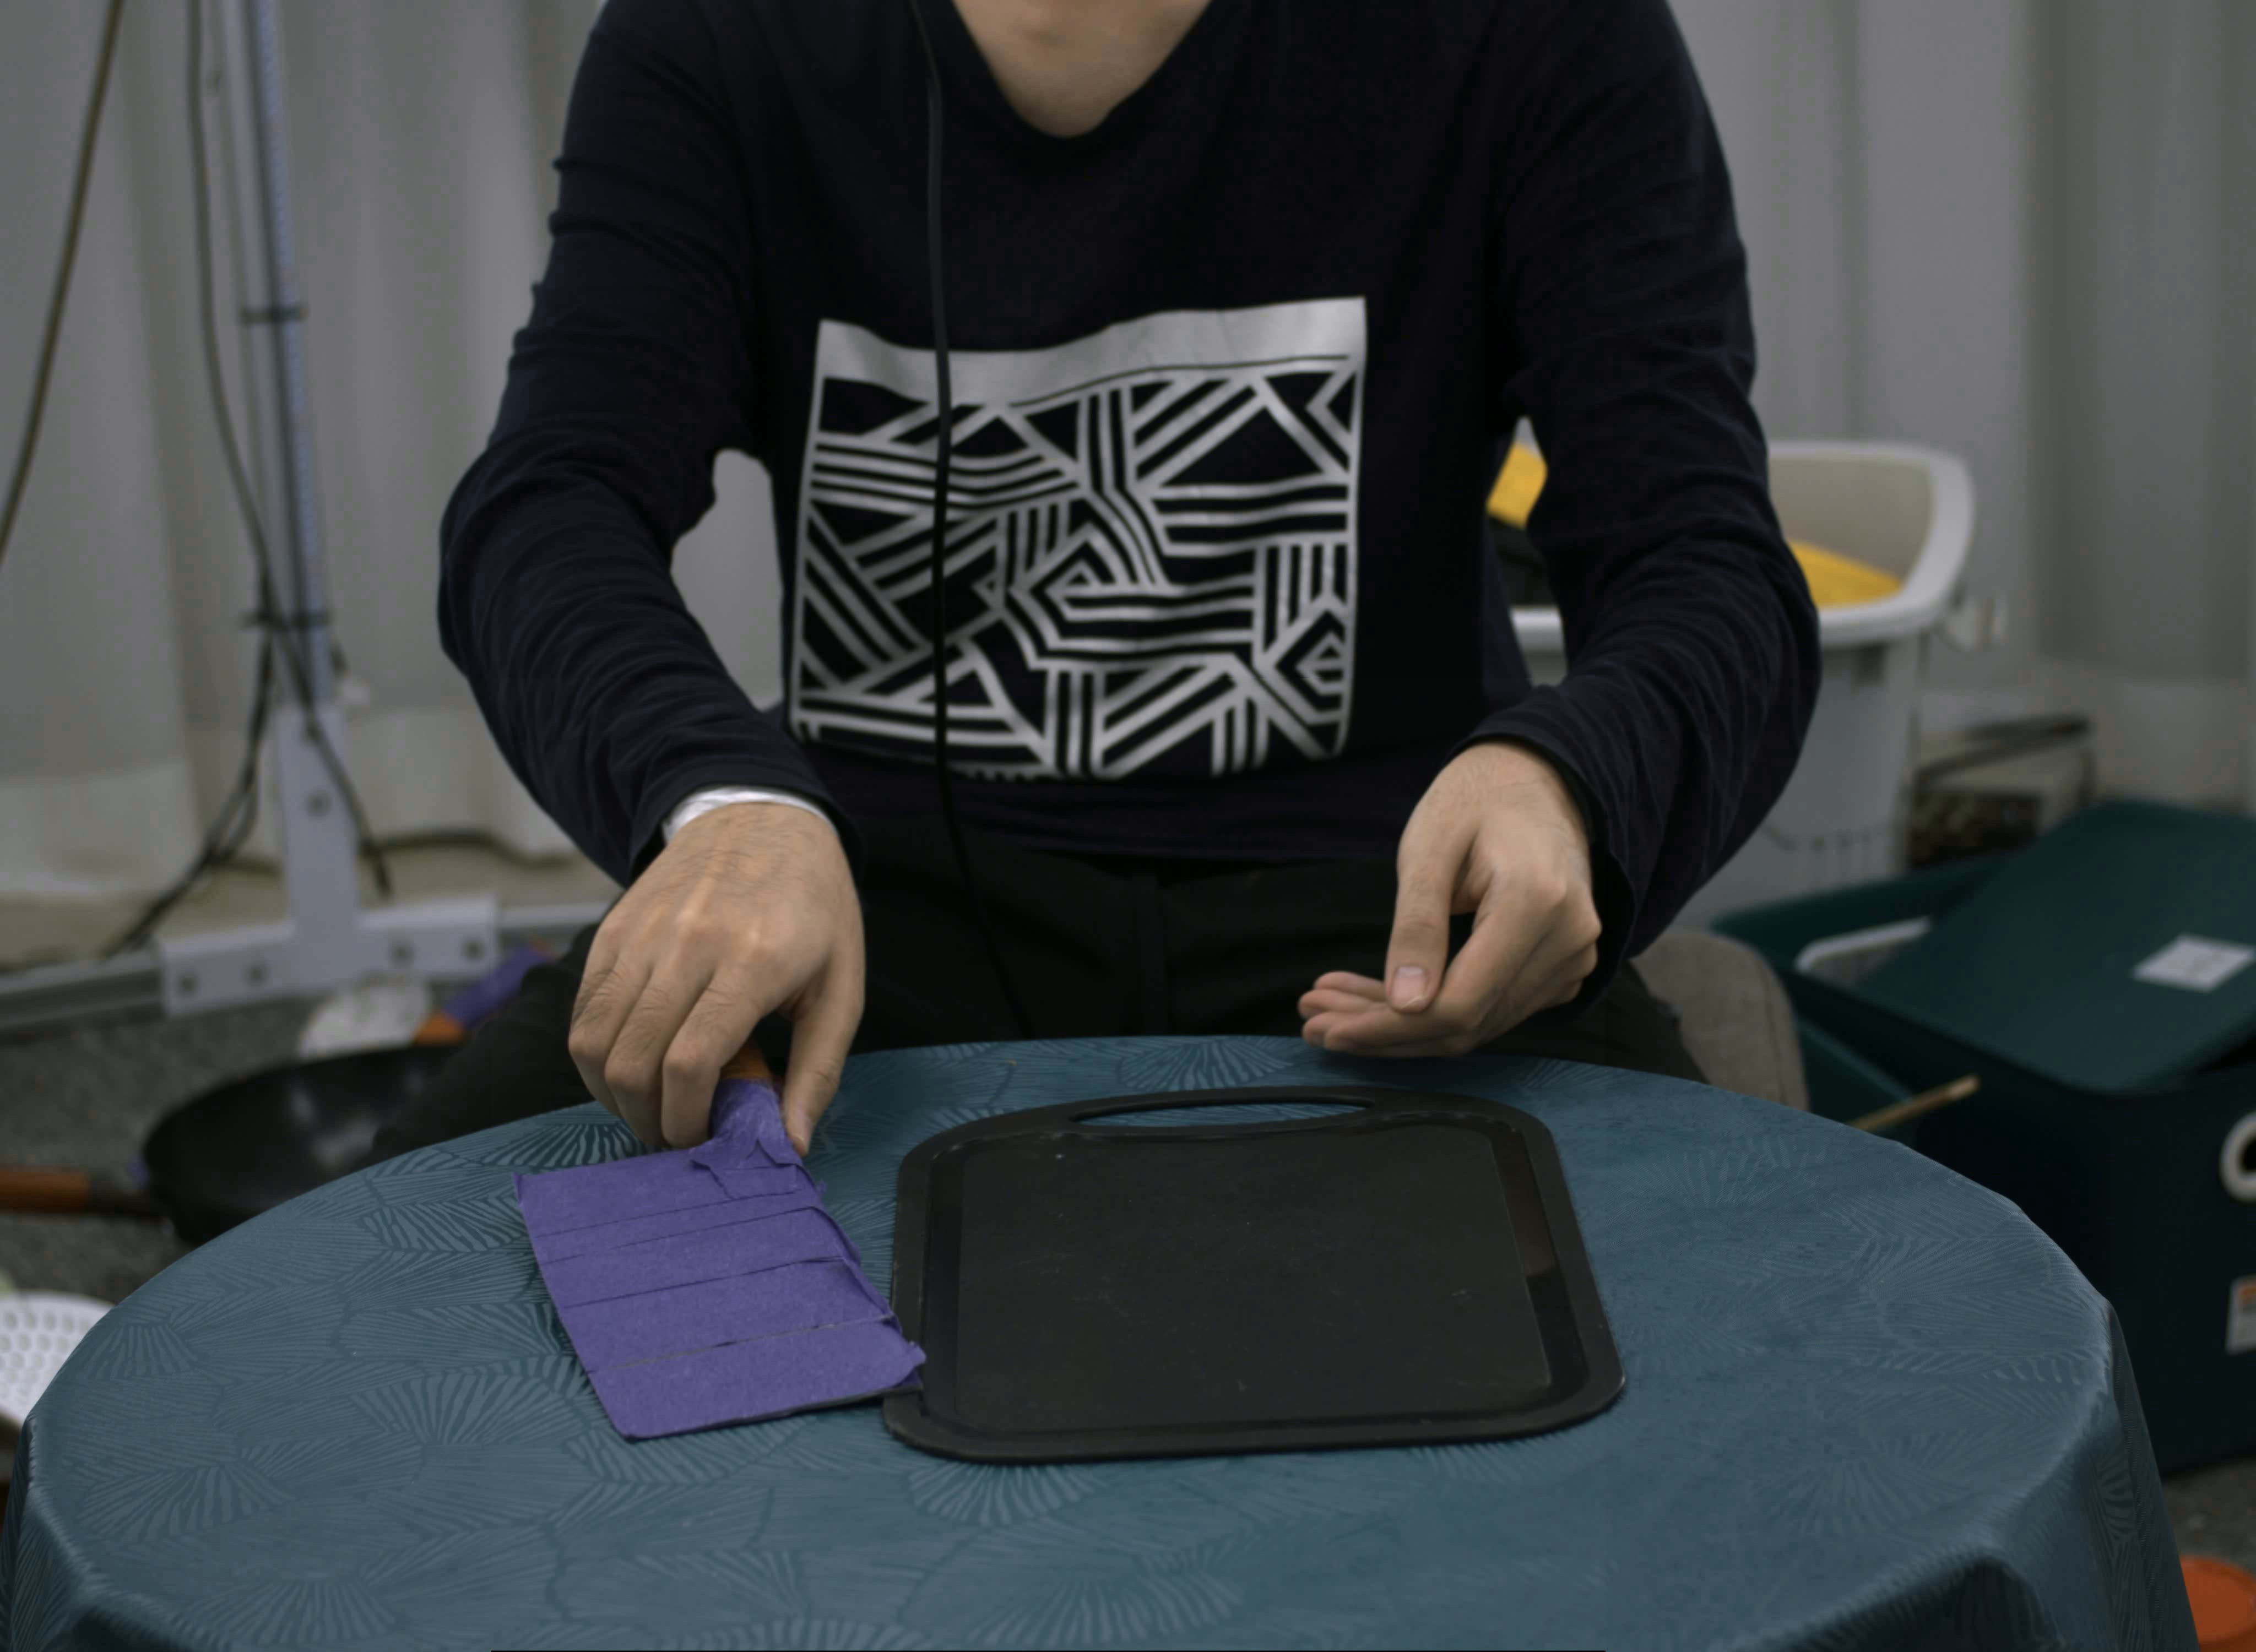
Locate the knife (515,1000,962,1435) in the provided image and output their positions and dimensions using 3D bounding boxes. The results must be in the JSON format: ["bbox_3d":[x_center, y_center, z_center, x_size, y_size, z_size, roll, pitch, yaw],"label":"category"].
[{"bbox_3d":[-0.137,0.116,1.676,0.103,0.032,0.318,-8,17,-13],"label":"knife"}]

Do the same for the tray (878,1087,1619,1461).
[{"bbox_3d":[0.032,0.128,1.648,0.210,0.010,0.327,-3,15,0],"label":"tray"}]
